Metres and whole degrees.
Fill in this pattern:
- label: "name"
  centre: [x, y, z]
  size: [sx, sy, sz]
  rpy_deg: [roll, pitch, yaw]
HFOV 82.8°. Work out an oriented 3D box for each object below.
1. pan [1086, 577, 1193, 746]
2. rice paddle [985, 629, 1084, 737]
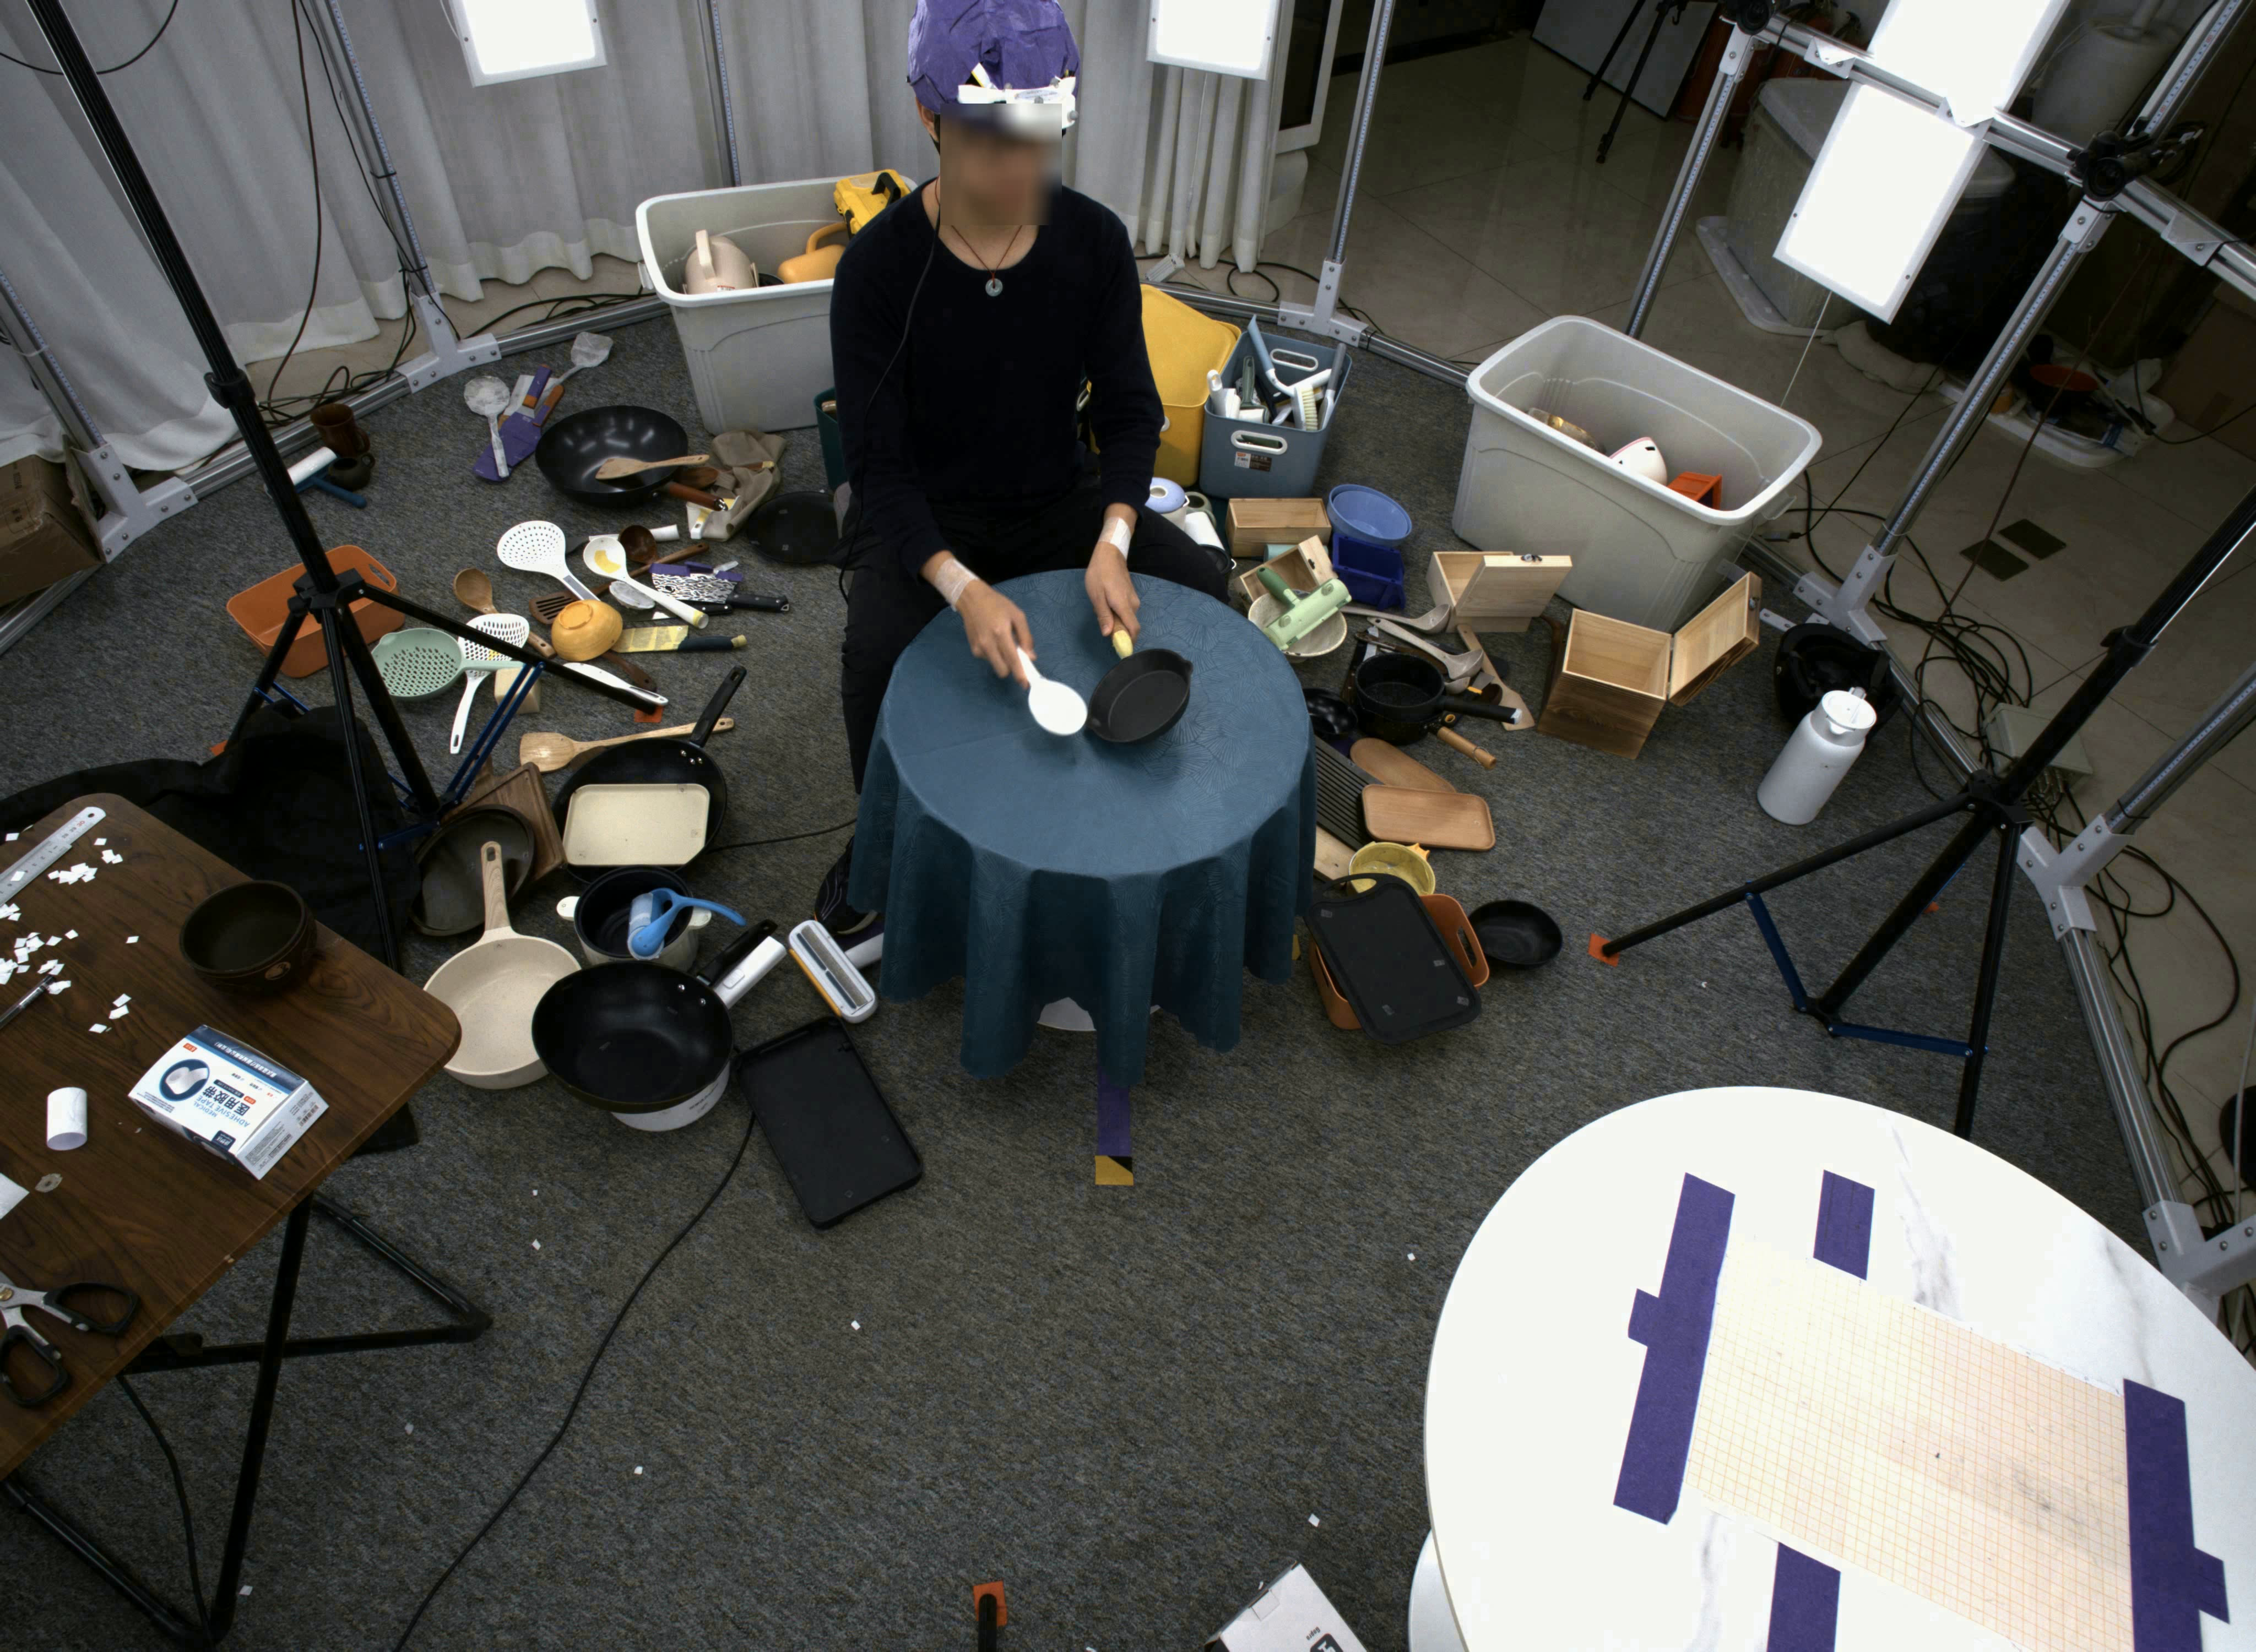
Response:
- label: "pan"
  centre: [0.003, -0.238, 1.814]
  size: [0.168, 0.048, 0.332]
  rpy_deg: [-26, 47, 14]
- label: "rice paddle"
  centre: [-0.130, -0.196, 1.762]
  size: [0.069, 0.029, 0.209]
  rpy_deg: [-28, 60, -20]
